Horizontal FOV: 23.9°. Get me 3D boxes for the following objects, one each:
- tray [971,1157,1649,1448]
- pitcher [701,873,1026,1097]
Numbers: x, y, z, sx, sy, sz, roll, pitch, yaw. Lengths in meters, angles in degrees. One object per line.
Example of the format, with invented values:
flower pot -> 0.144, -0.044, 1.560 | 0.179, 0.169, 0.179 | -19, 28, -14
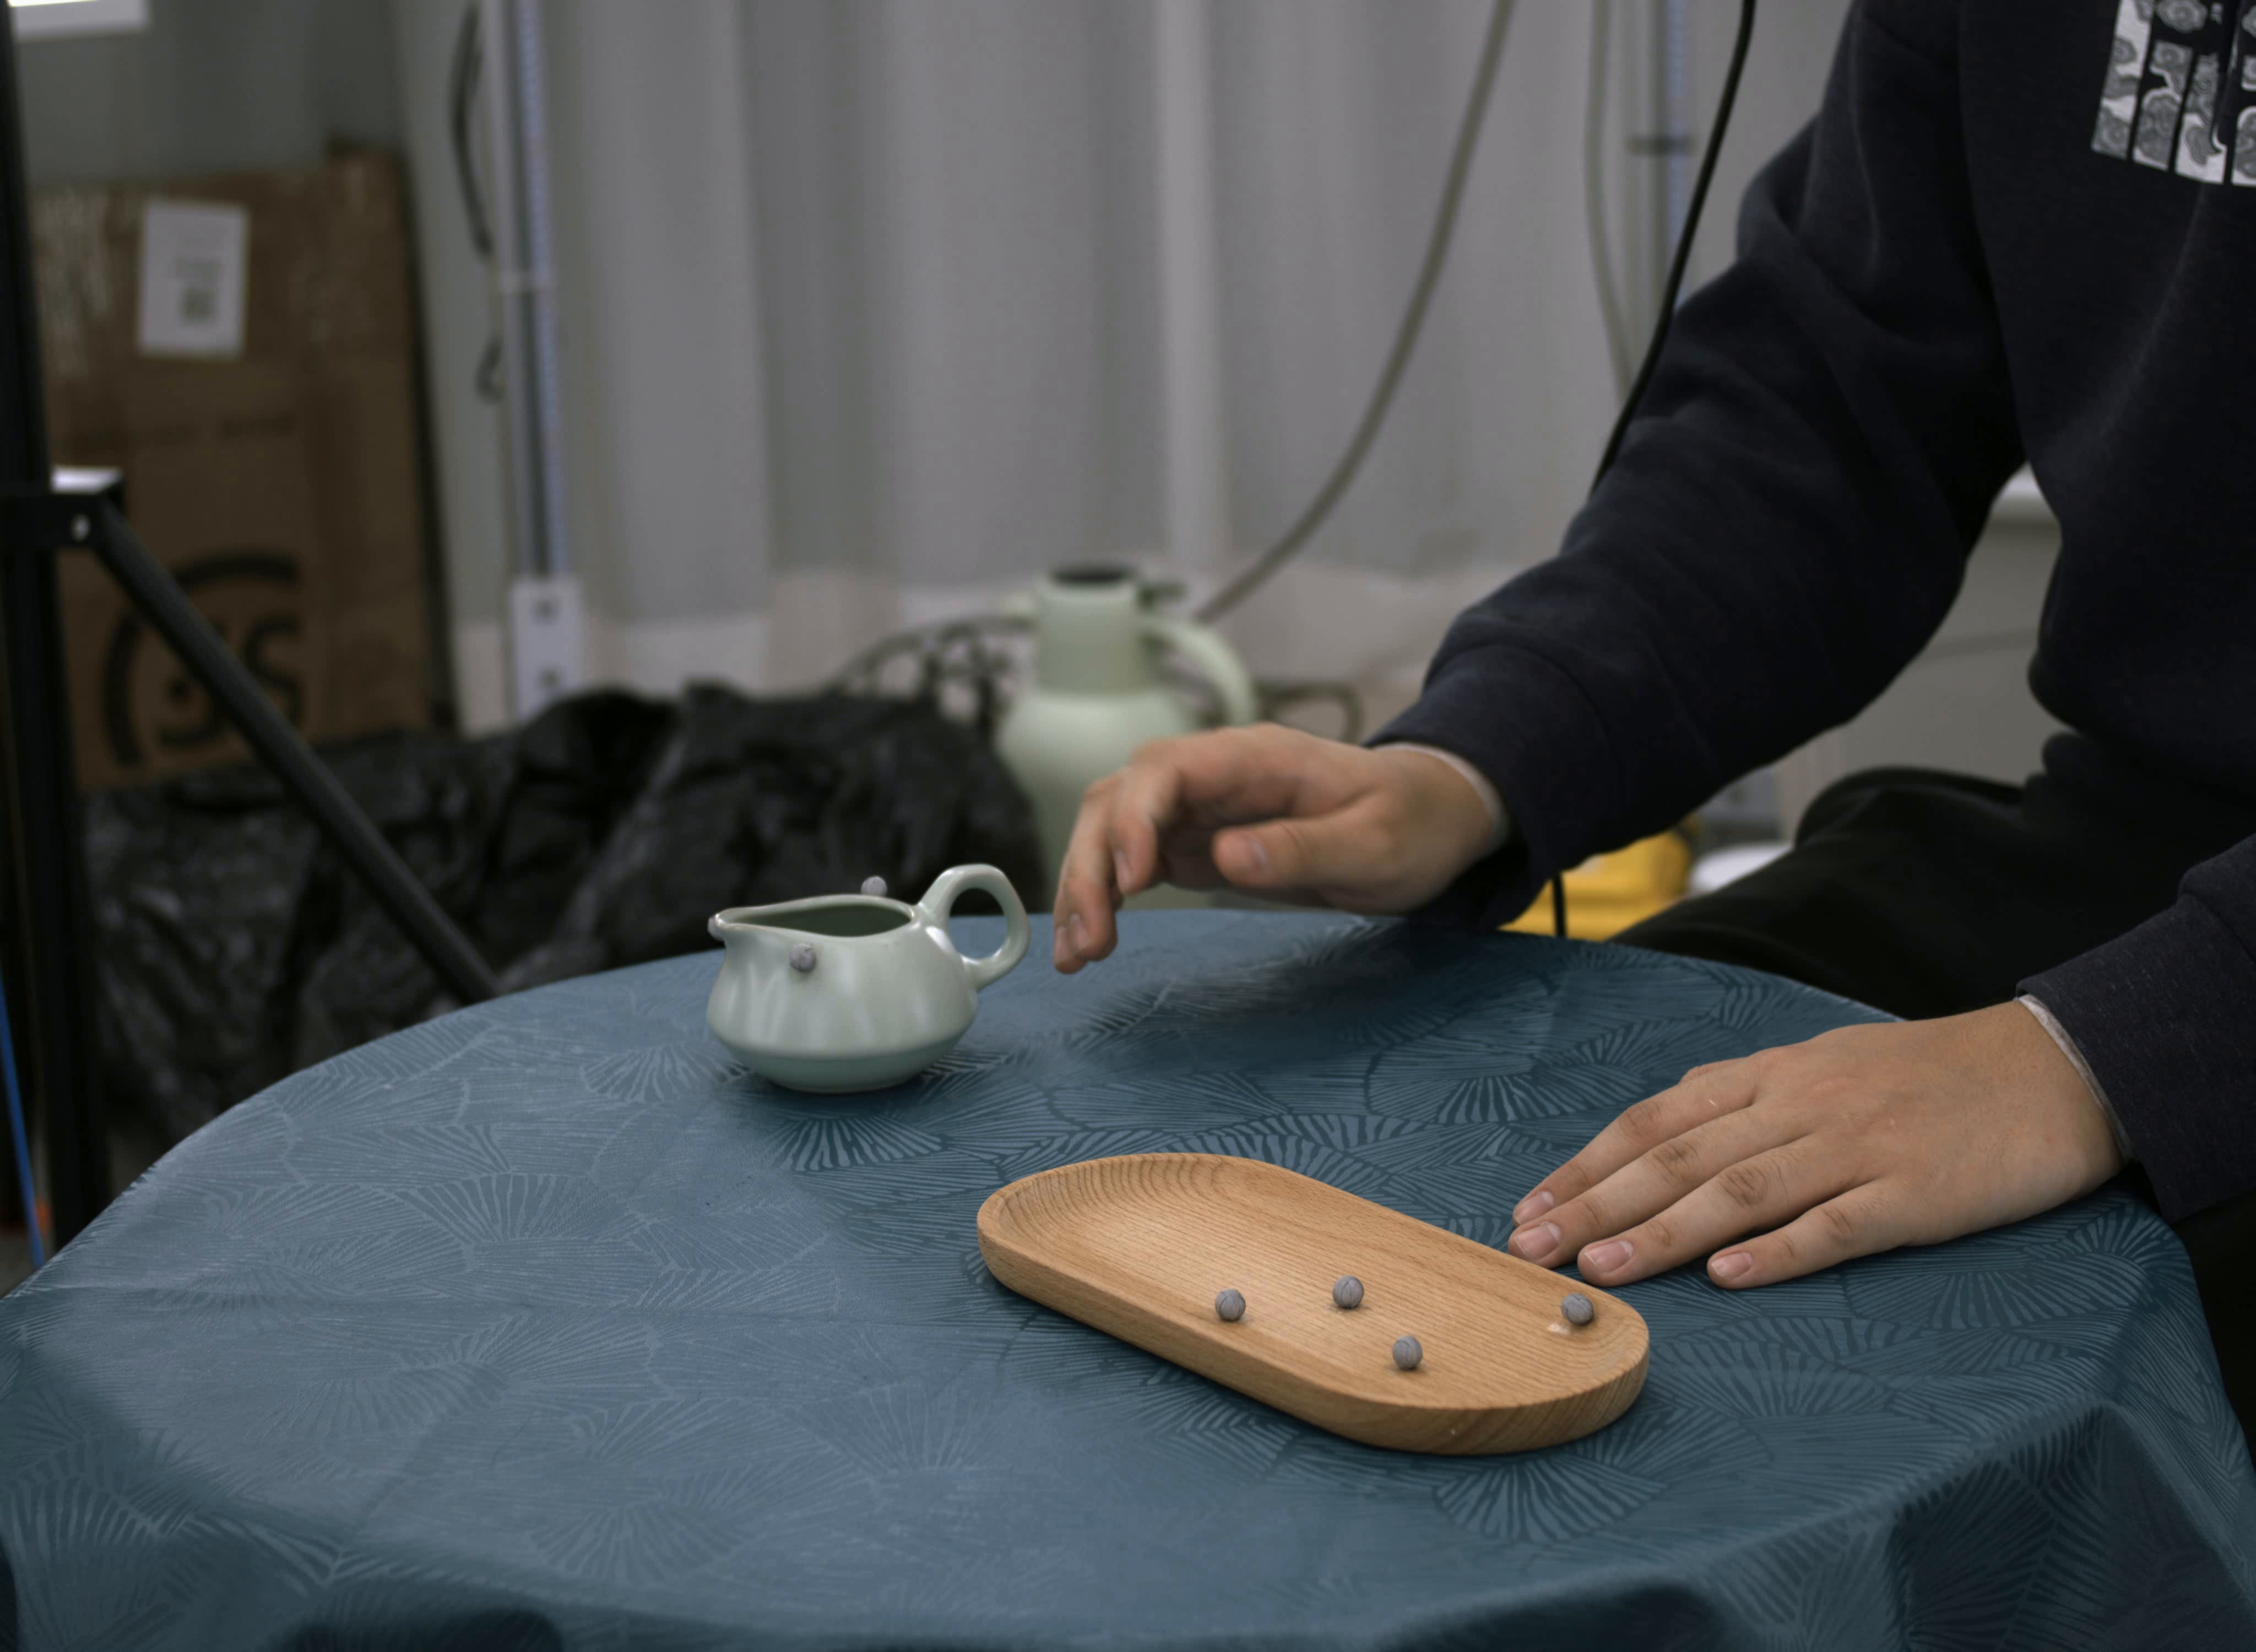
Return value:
tray -> 0.047, 0.128, 1.449 | 0.099, 0.020, 0.236 | -12, 16, -35
pitcher -> -0.081, 0.049, 1.677 | 0.105, 0.060, 0.088 | -8, 18, -27
